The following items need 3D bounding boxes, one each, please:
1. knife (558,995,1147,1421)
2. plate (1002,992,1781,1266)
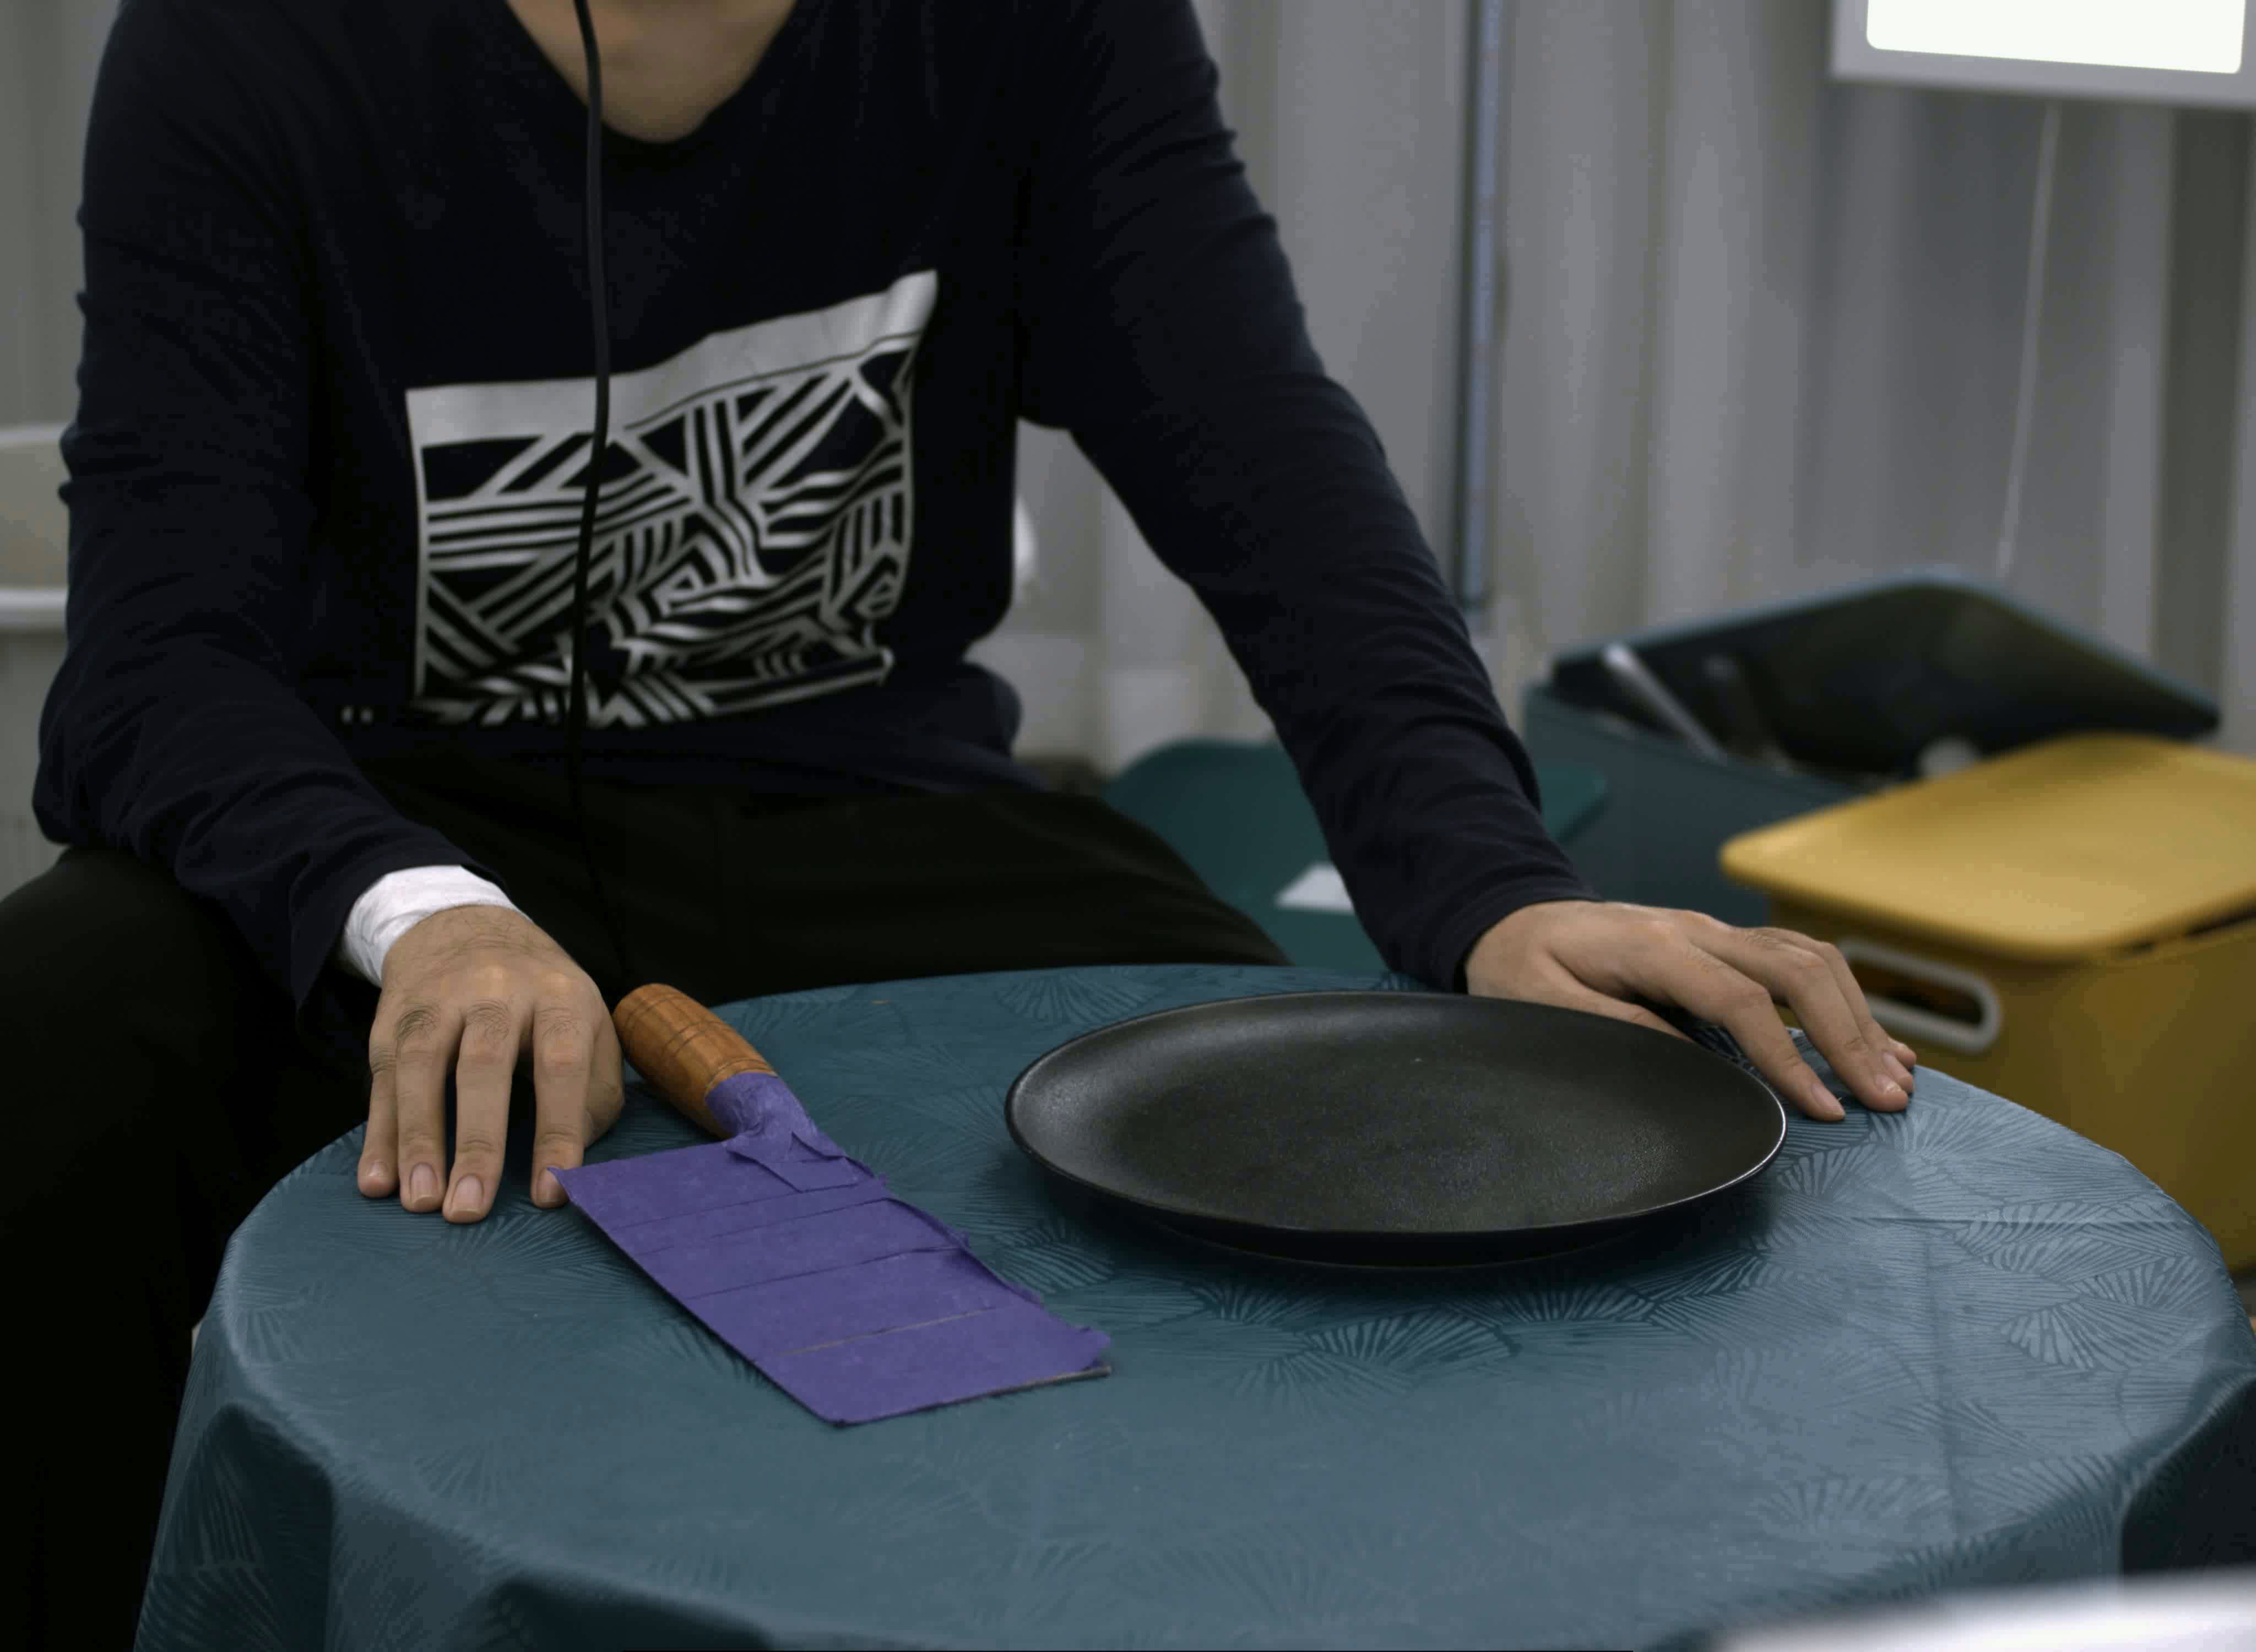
[{"bbox_3d":[-0.112,0.110,1.578,0.104,0.032,0.311,-8,18,-28],"label":"knife"},{"bbox_3d":[0.082,0.096,1.643,0.243,0.023,0.243,1,15,0],"label":"plate"}]
